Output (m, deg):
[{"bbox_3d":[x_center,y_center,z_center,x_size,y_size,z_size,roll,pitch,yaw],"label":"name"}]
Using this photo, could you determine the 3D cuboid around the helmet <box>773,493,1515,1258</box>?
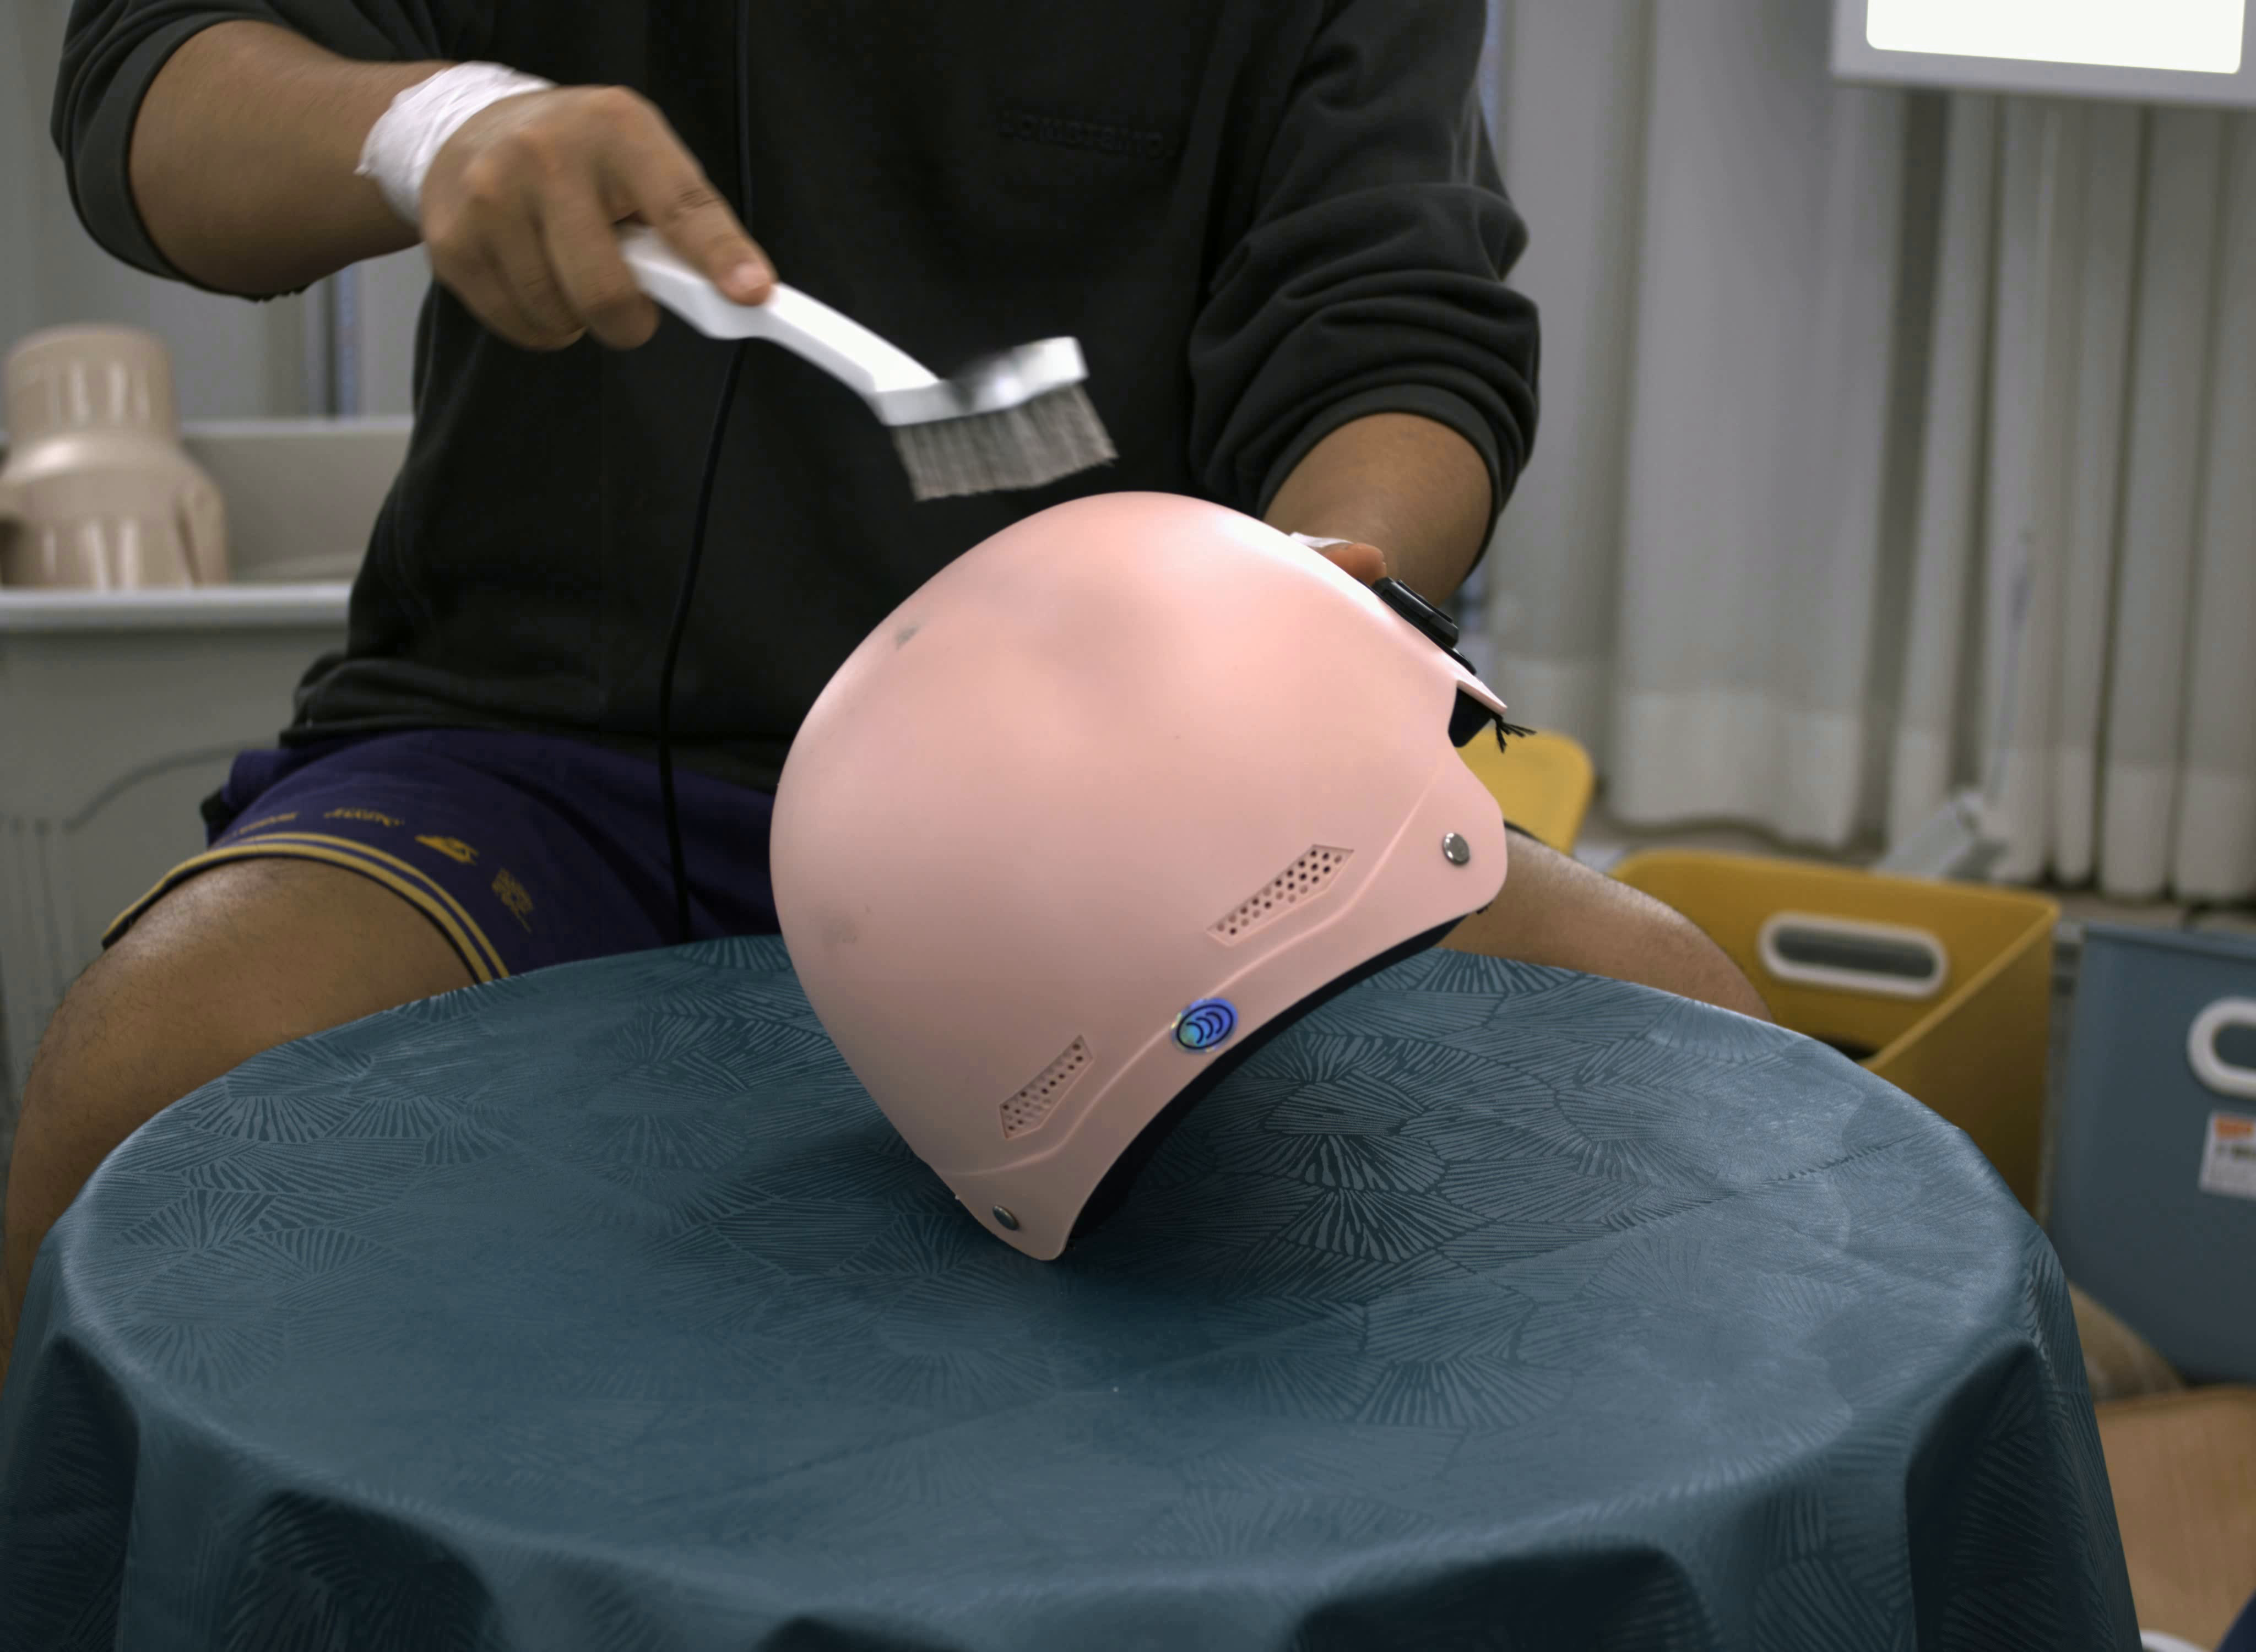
[{"bbox_3d":[-0.014,-0.011,1.598,0.234,0.160,0.264,-40,17,10],"label":"helmet"}]

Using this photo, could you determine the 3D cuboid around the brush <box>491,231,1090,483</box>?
[{"bbox_3d":[-0.103,-0.136,1.532,0.240,0.051,0.034,16,33,43],"label":"brush"}]
